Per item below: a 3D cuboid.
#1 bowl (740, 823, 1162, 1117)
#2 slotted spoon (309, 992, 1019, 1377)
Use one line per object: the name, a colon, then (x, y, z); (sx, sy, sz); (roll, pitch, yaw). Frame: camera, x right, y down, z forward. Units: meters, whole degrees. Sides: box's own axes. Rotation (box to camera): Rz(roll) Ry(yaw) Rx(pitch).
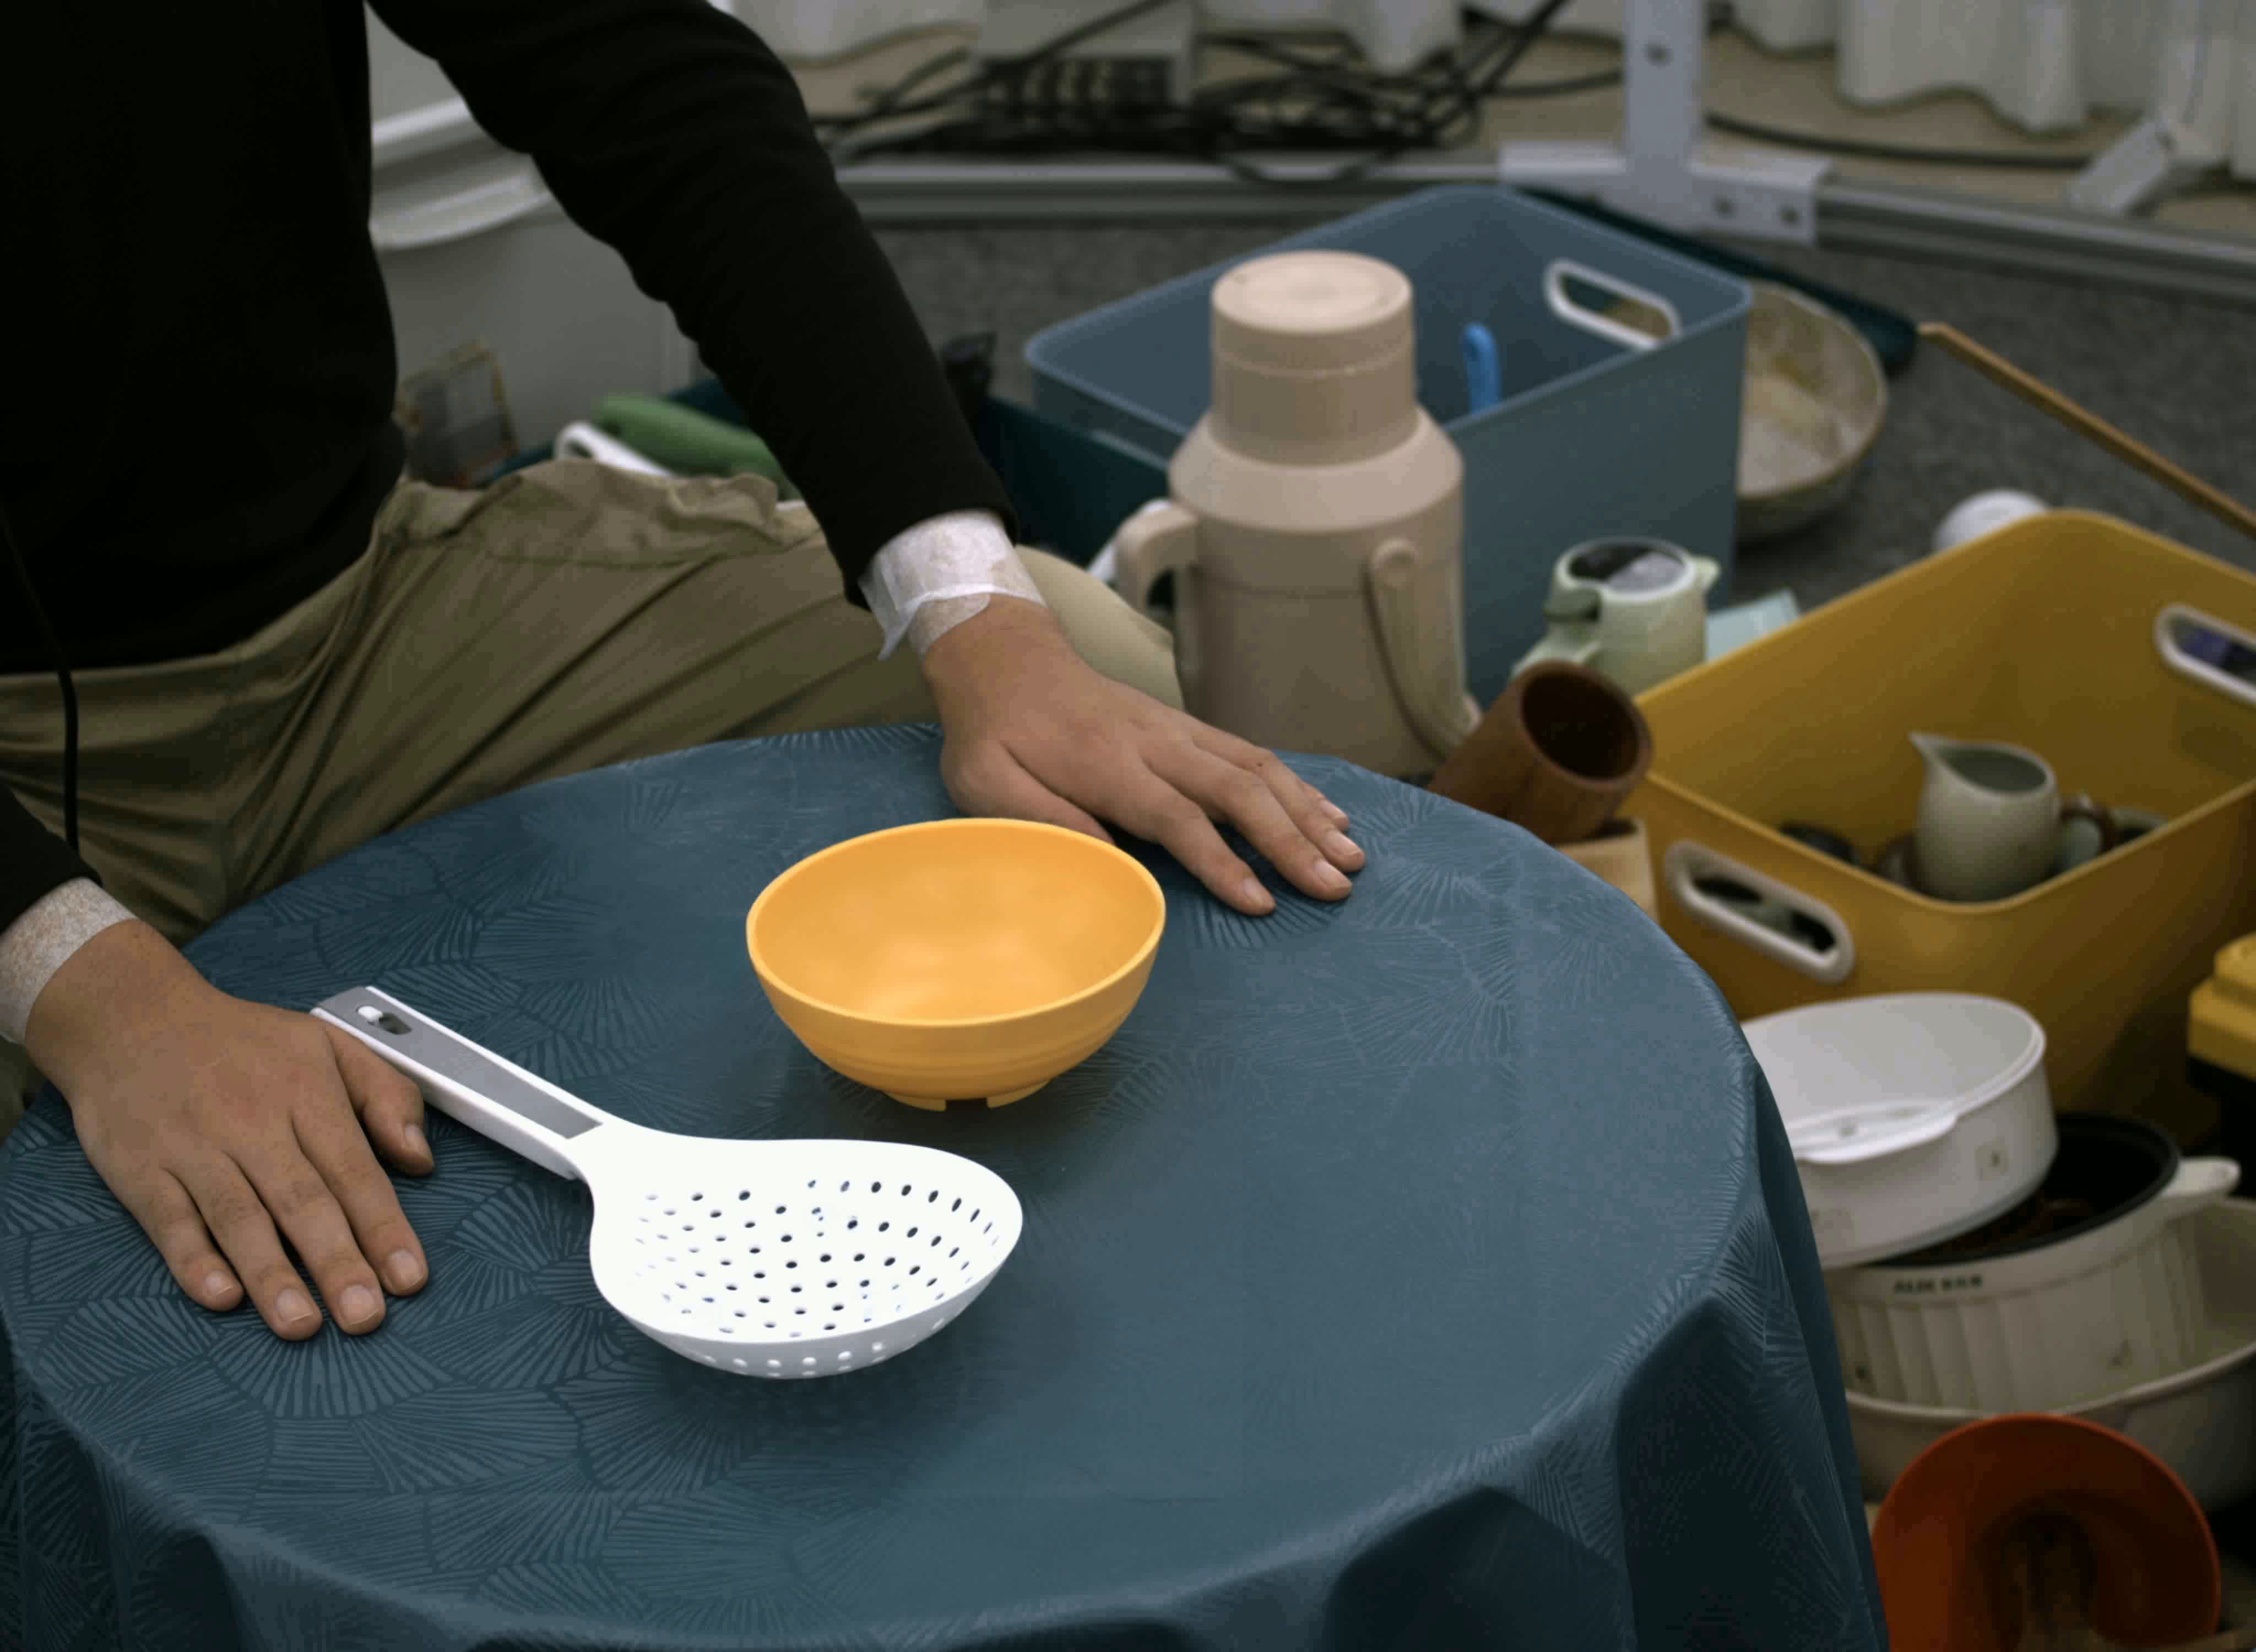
bowl: (-0.060, 0.058, 1.930); (0.144, 0.059, 0.147); (0, 27, 1)
slotted spoon: (-0.169, 0.110, 1.850); (0.137, 0.045, 0.349); (-22, 32, -34)
